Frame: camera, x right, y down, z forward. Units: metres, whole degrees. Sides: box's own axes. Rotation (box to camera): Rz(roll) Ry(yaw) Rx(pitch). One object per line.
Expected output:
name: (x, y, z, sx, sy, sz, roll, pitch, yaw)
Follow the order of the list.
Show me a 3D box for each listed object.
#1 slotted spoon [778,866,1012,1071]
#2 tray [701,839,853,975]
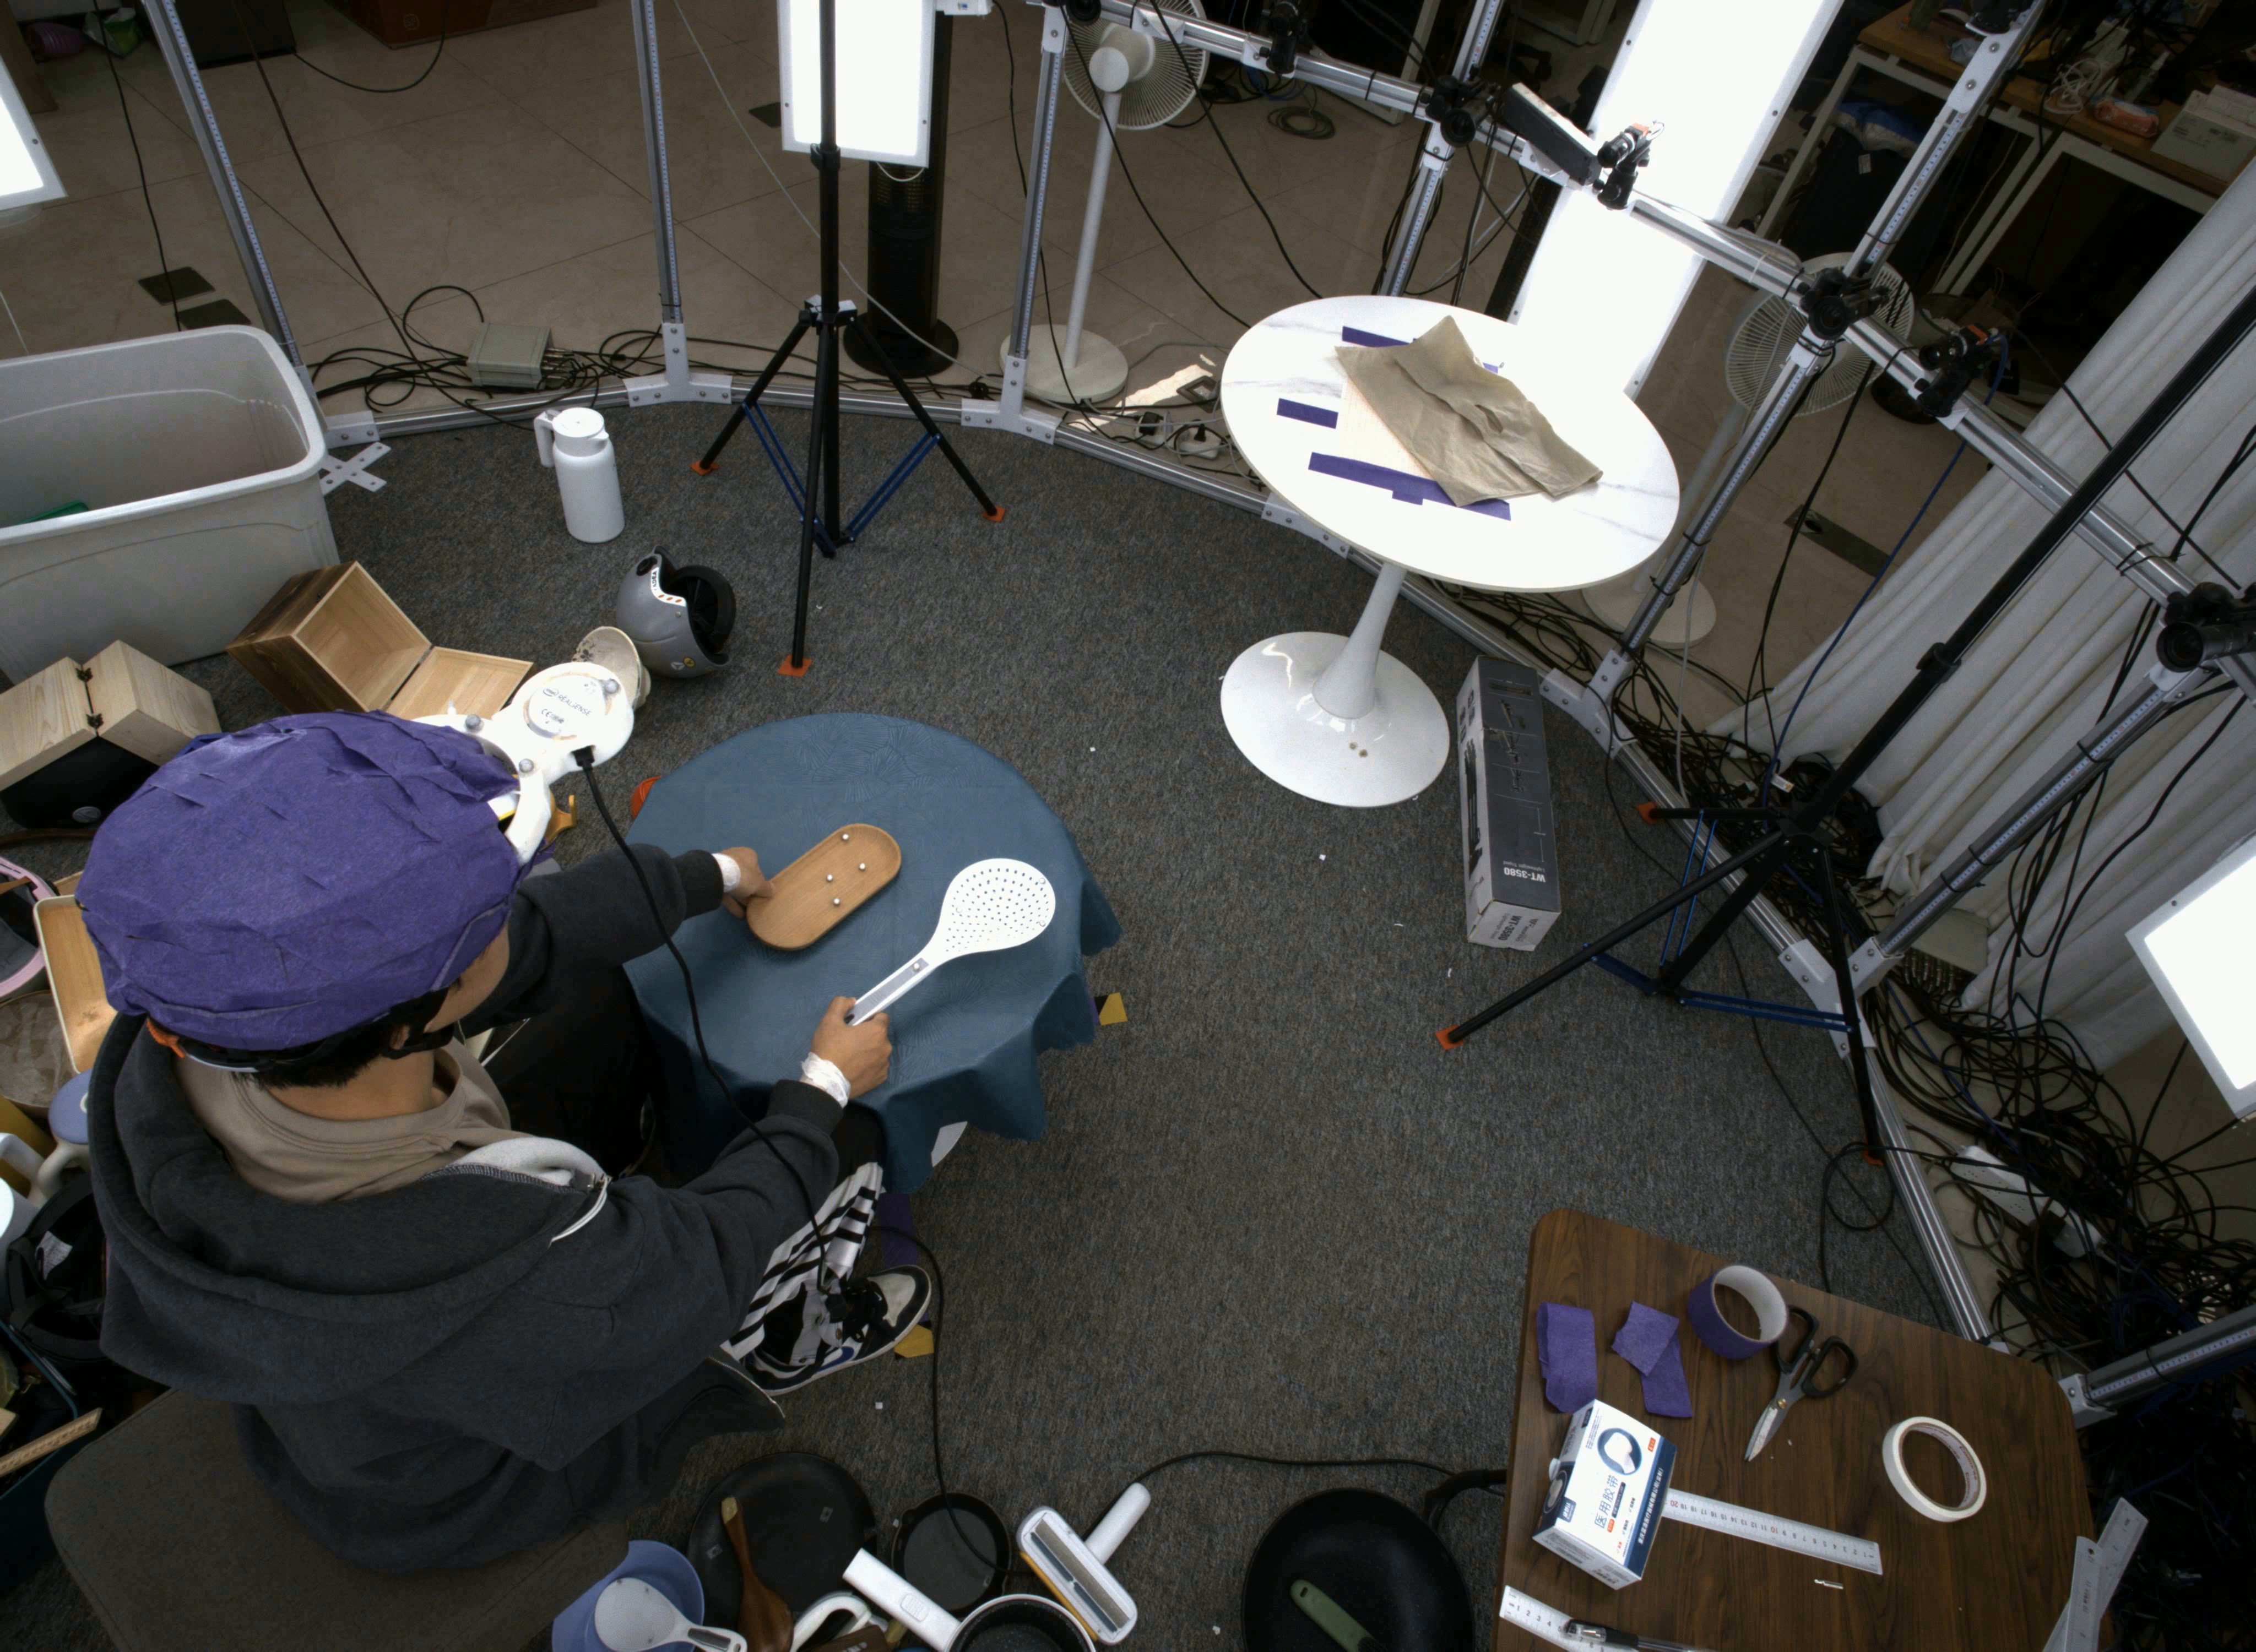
slotted spoon: (-0.280, 0.168, 1.562, 0.132, 0.047, 0.350, 35, 51, 20)
tray: (-0.440, 0.098, 1.633, 0.100, 0.020, 0.230, 34, 51, 8)
